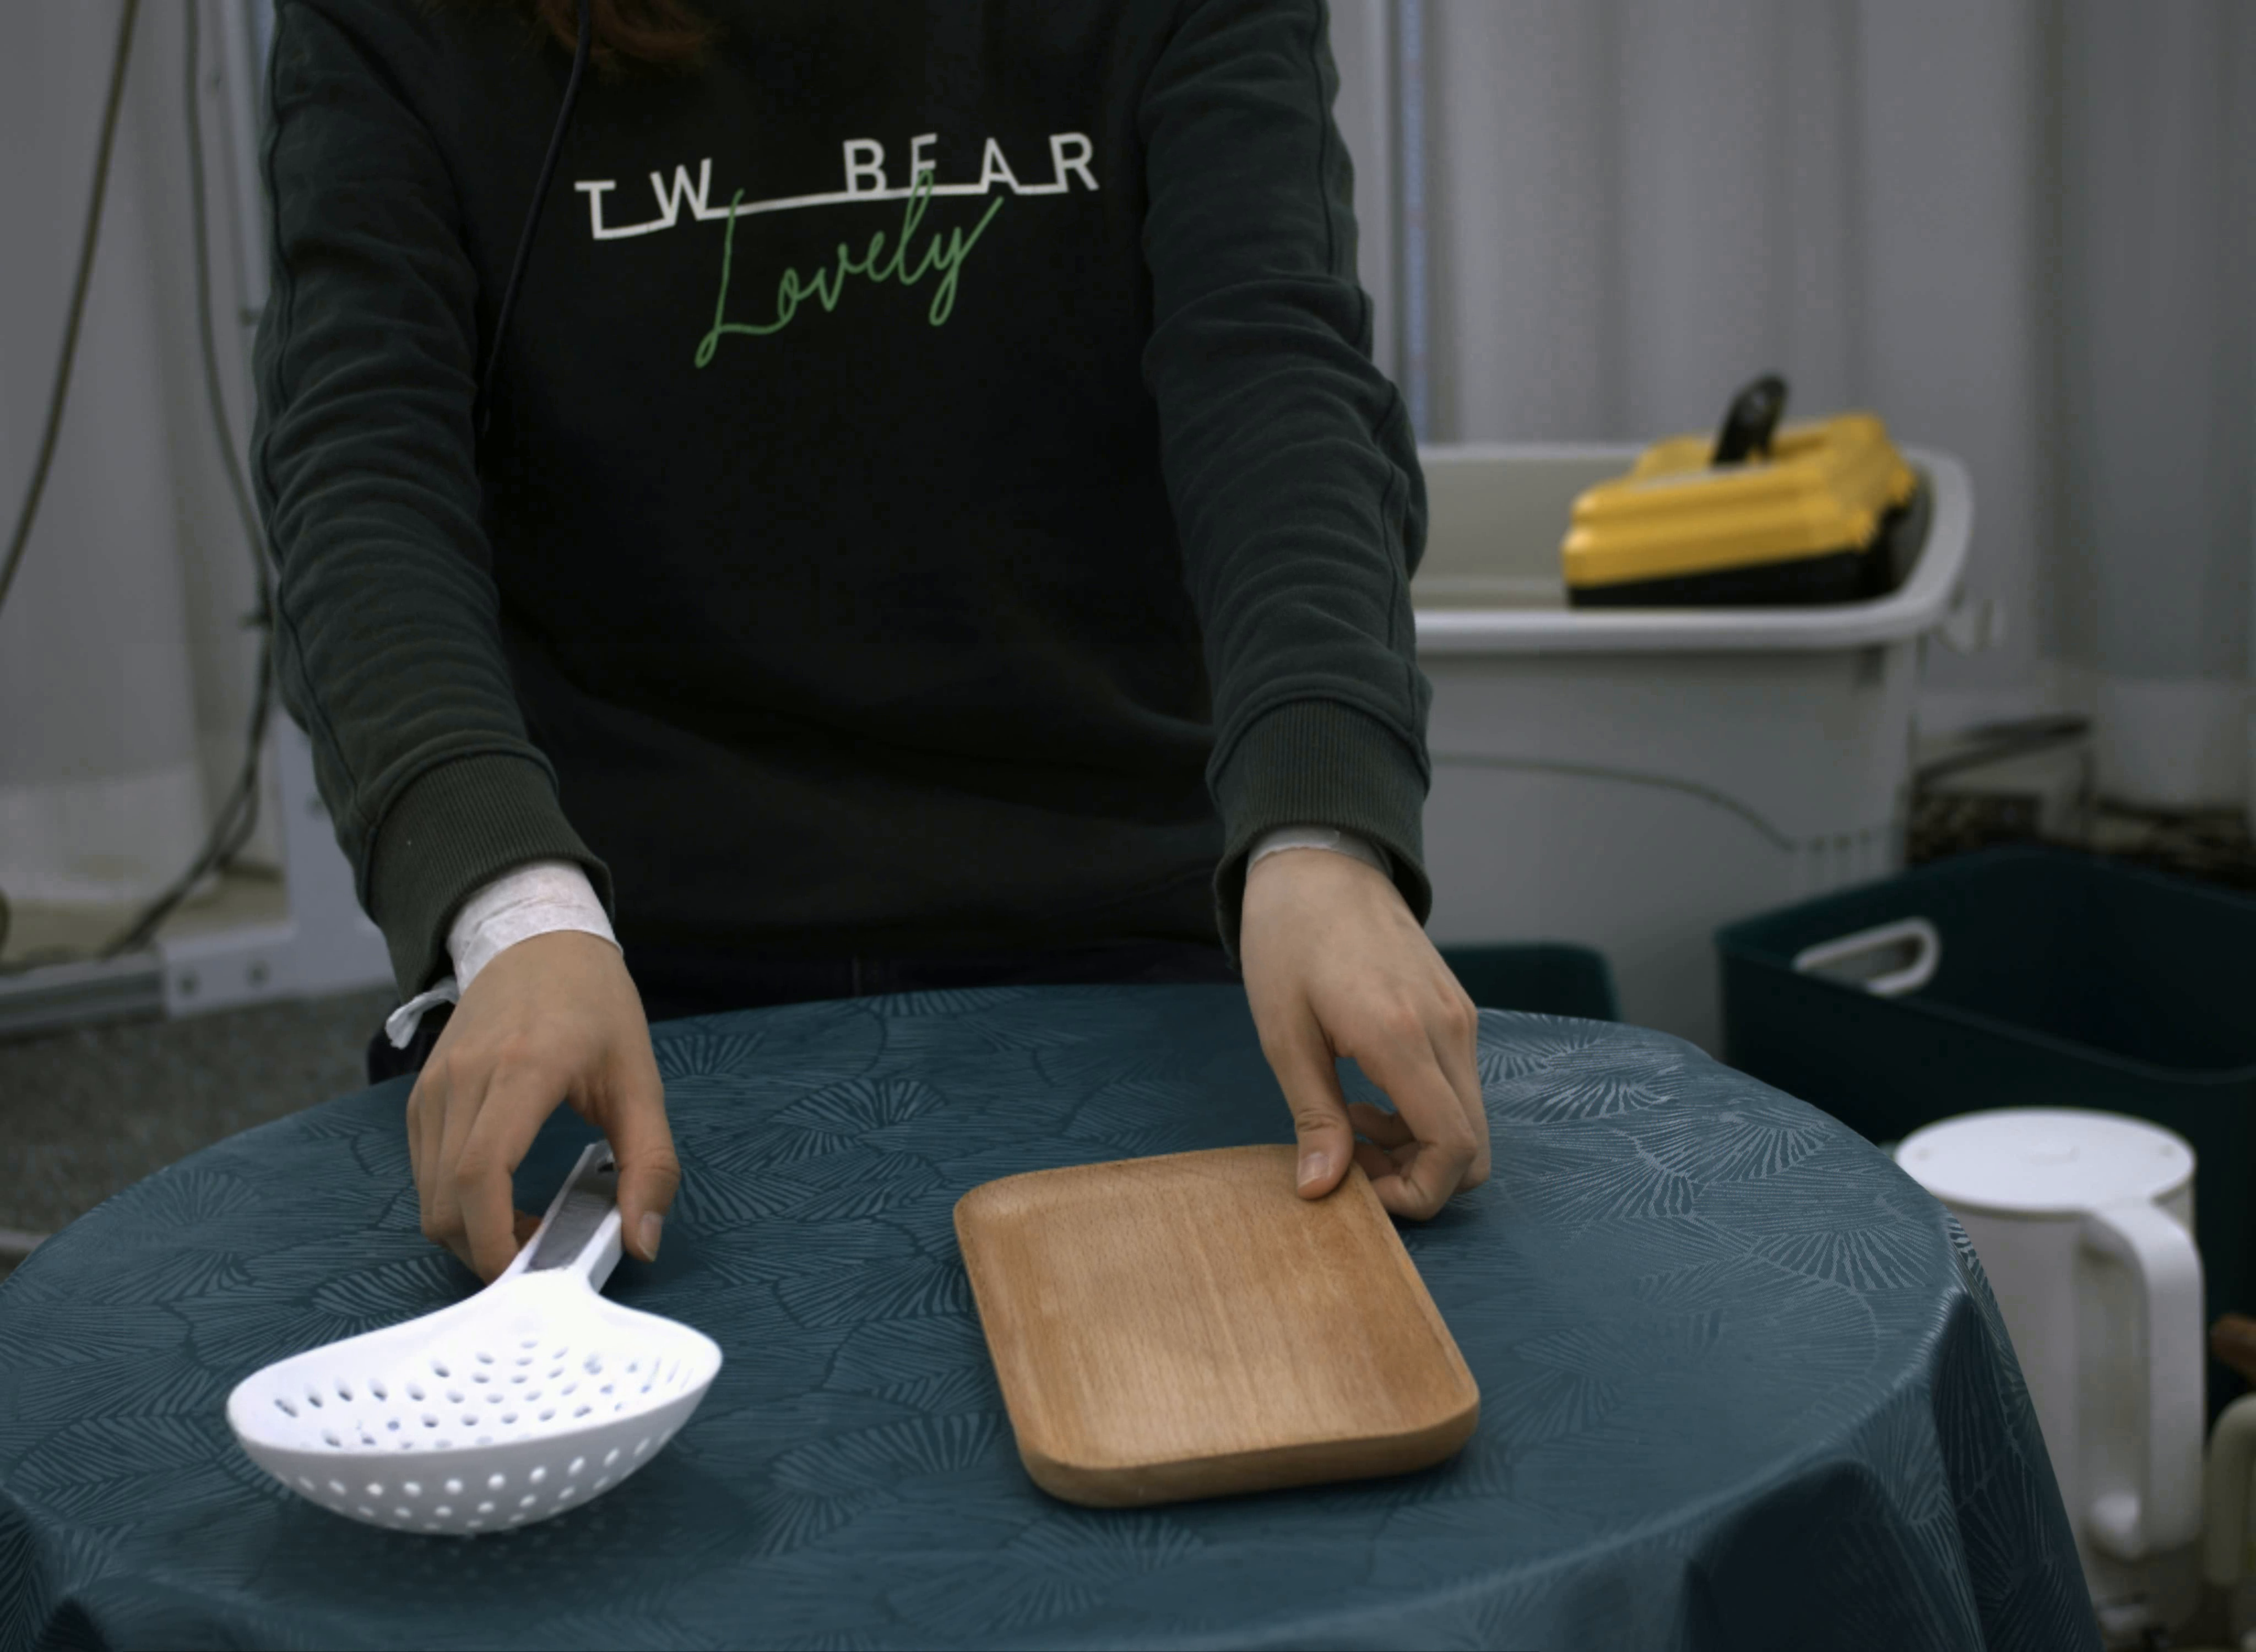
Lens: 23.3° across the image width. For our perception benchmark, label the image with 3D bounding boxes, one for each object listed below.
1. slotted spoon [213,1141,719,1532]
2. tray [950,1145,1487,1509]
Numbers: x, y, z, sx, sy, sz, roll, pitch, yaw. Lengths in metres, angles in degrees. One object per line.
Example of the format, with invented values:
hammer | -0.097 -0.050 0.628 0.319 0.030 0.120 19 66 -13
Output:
slotted spoon | -0.170 0.137 1.573 0.135 0.045 0.352 -2 14 4
tray | 0.022 0.141 1.574 0.130 0.023 0.252 -4 14 -6
